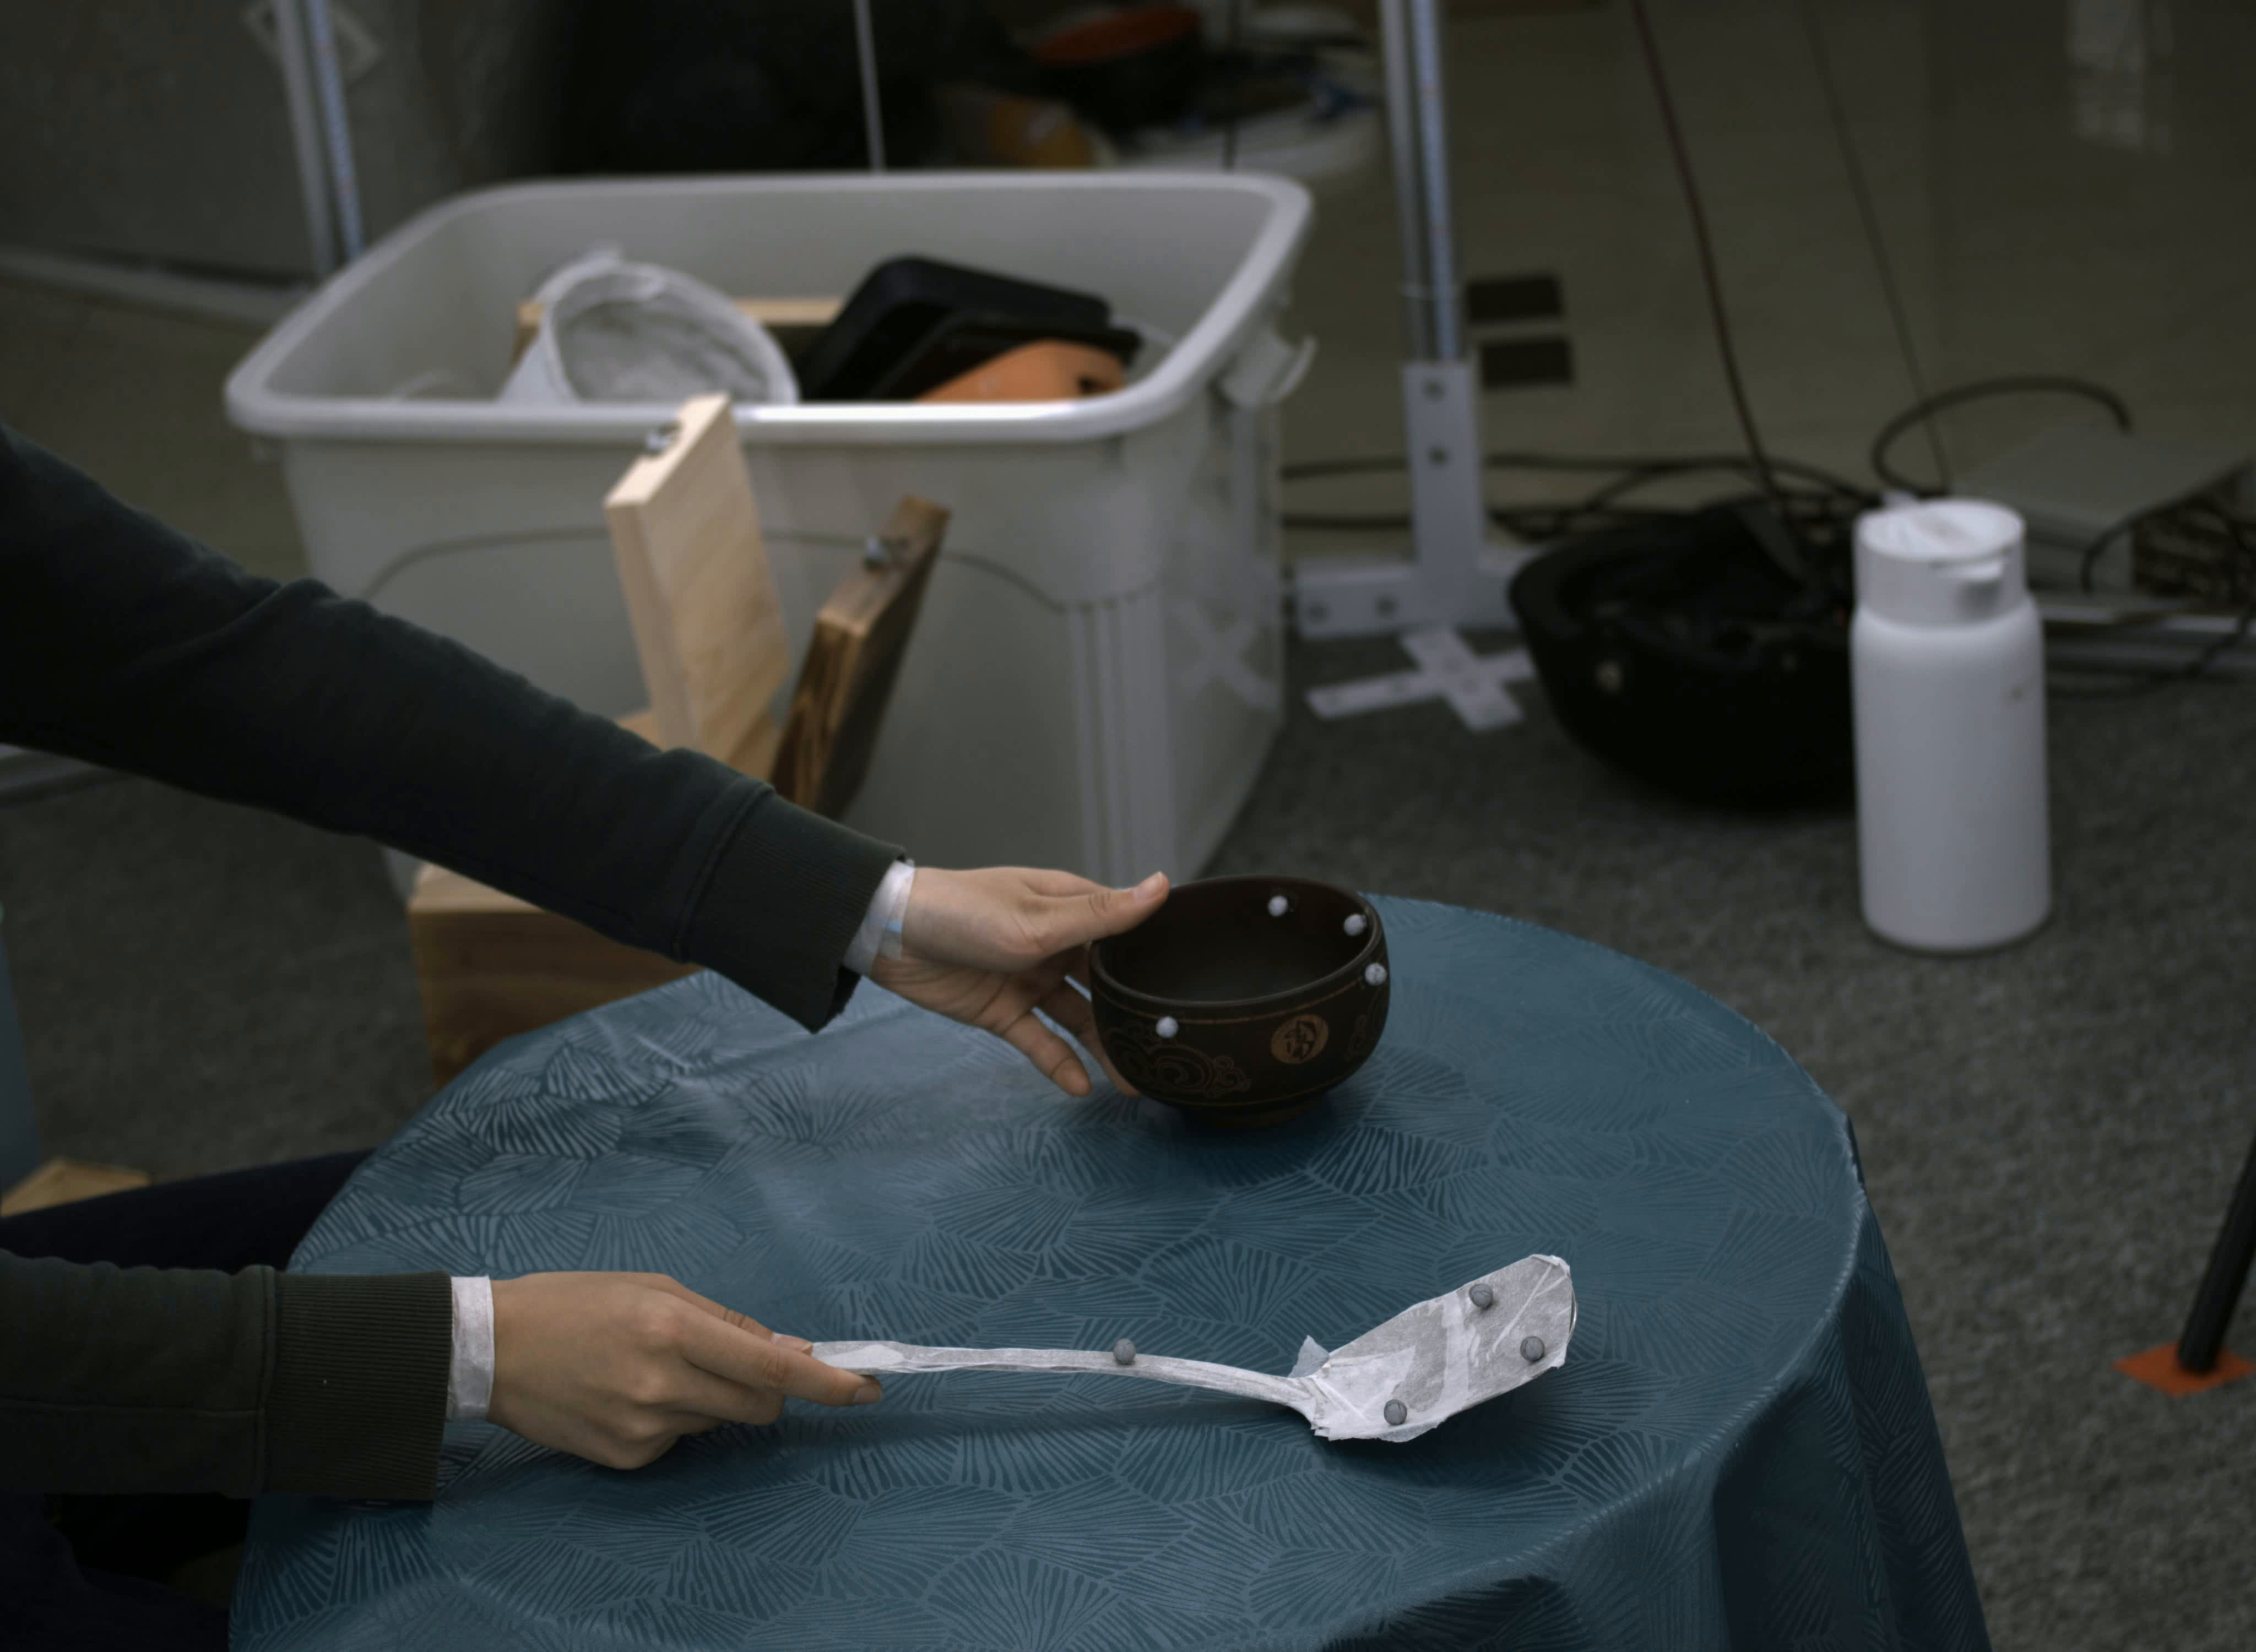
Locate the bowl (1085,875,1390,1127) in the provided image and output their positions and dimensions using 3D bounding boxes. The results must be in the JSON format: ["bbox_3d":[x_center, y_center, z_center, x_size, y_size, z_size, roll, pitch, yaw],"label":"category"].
[{"bbox_3d":[0.044,0.074,2.196,0.118,0.071,0.116,-6,23,3],"label":"bowl"}]

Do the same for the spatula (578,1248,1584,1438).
[{"bbox_3d":[-0.022,0.184,2.003,0.364,0.045,0.097,1,26,8],"label":"spatula"}]
